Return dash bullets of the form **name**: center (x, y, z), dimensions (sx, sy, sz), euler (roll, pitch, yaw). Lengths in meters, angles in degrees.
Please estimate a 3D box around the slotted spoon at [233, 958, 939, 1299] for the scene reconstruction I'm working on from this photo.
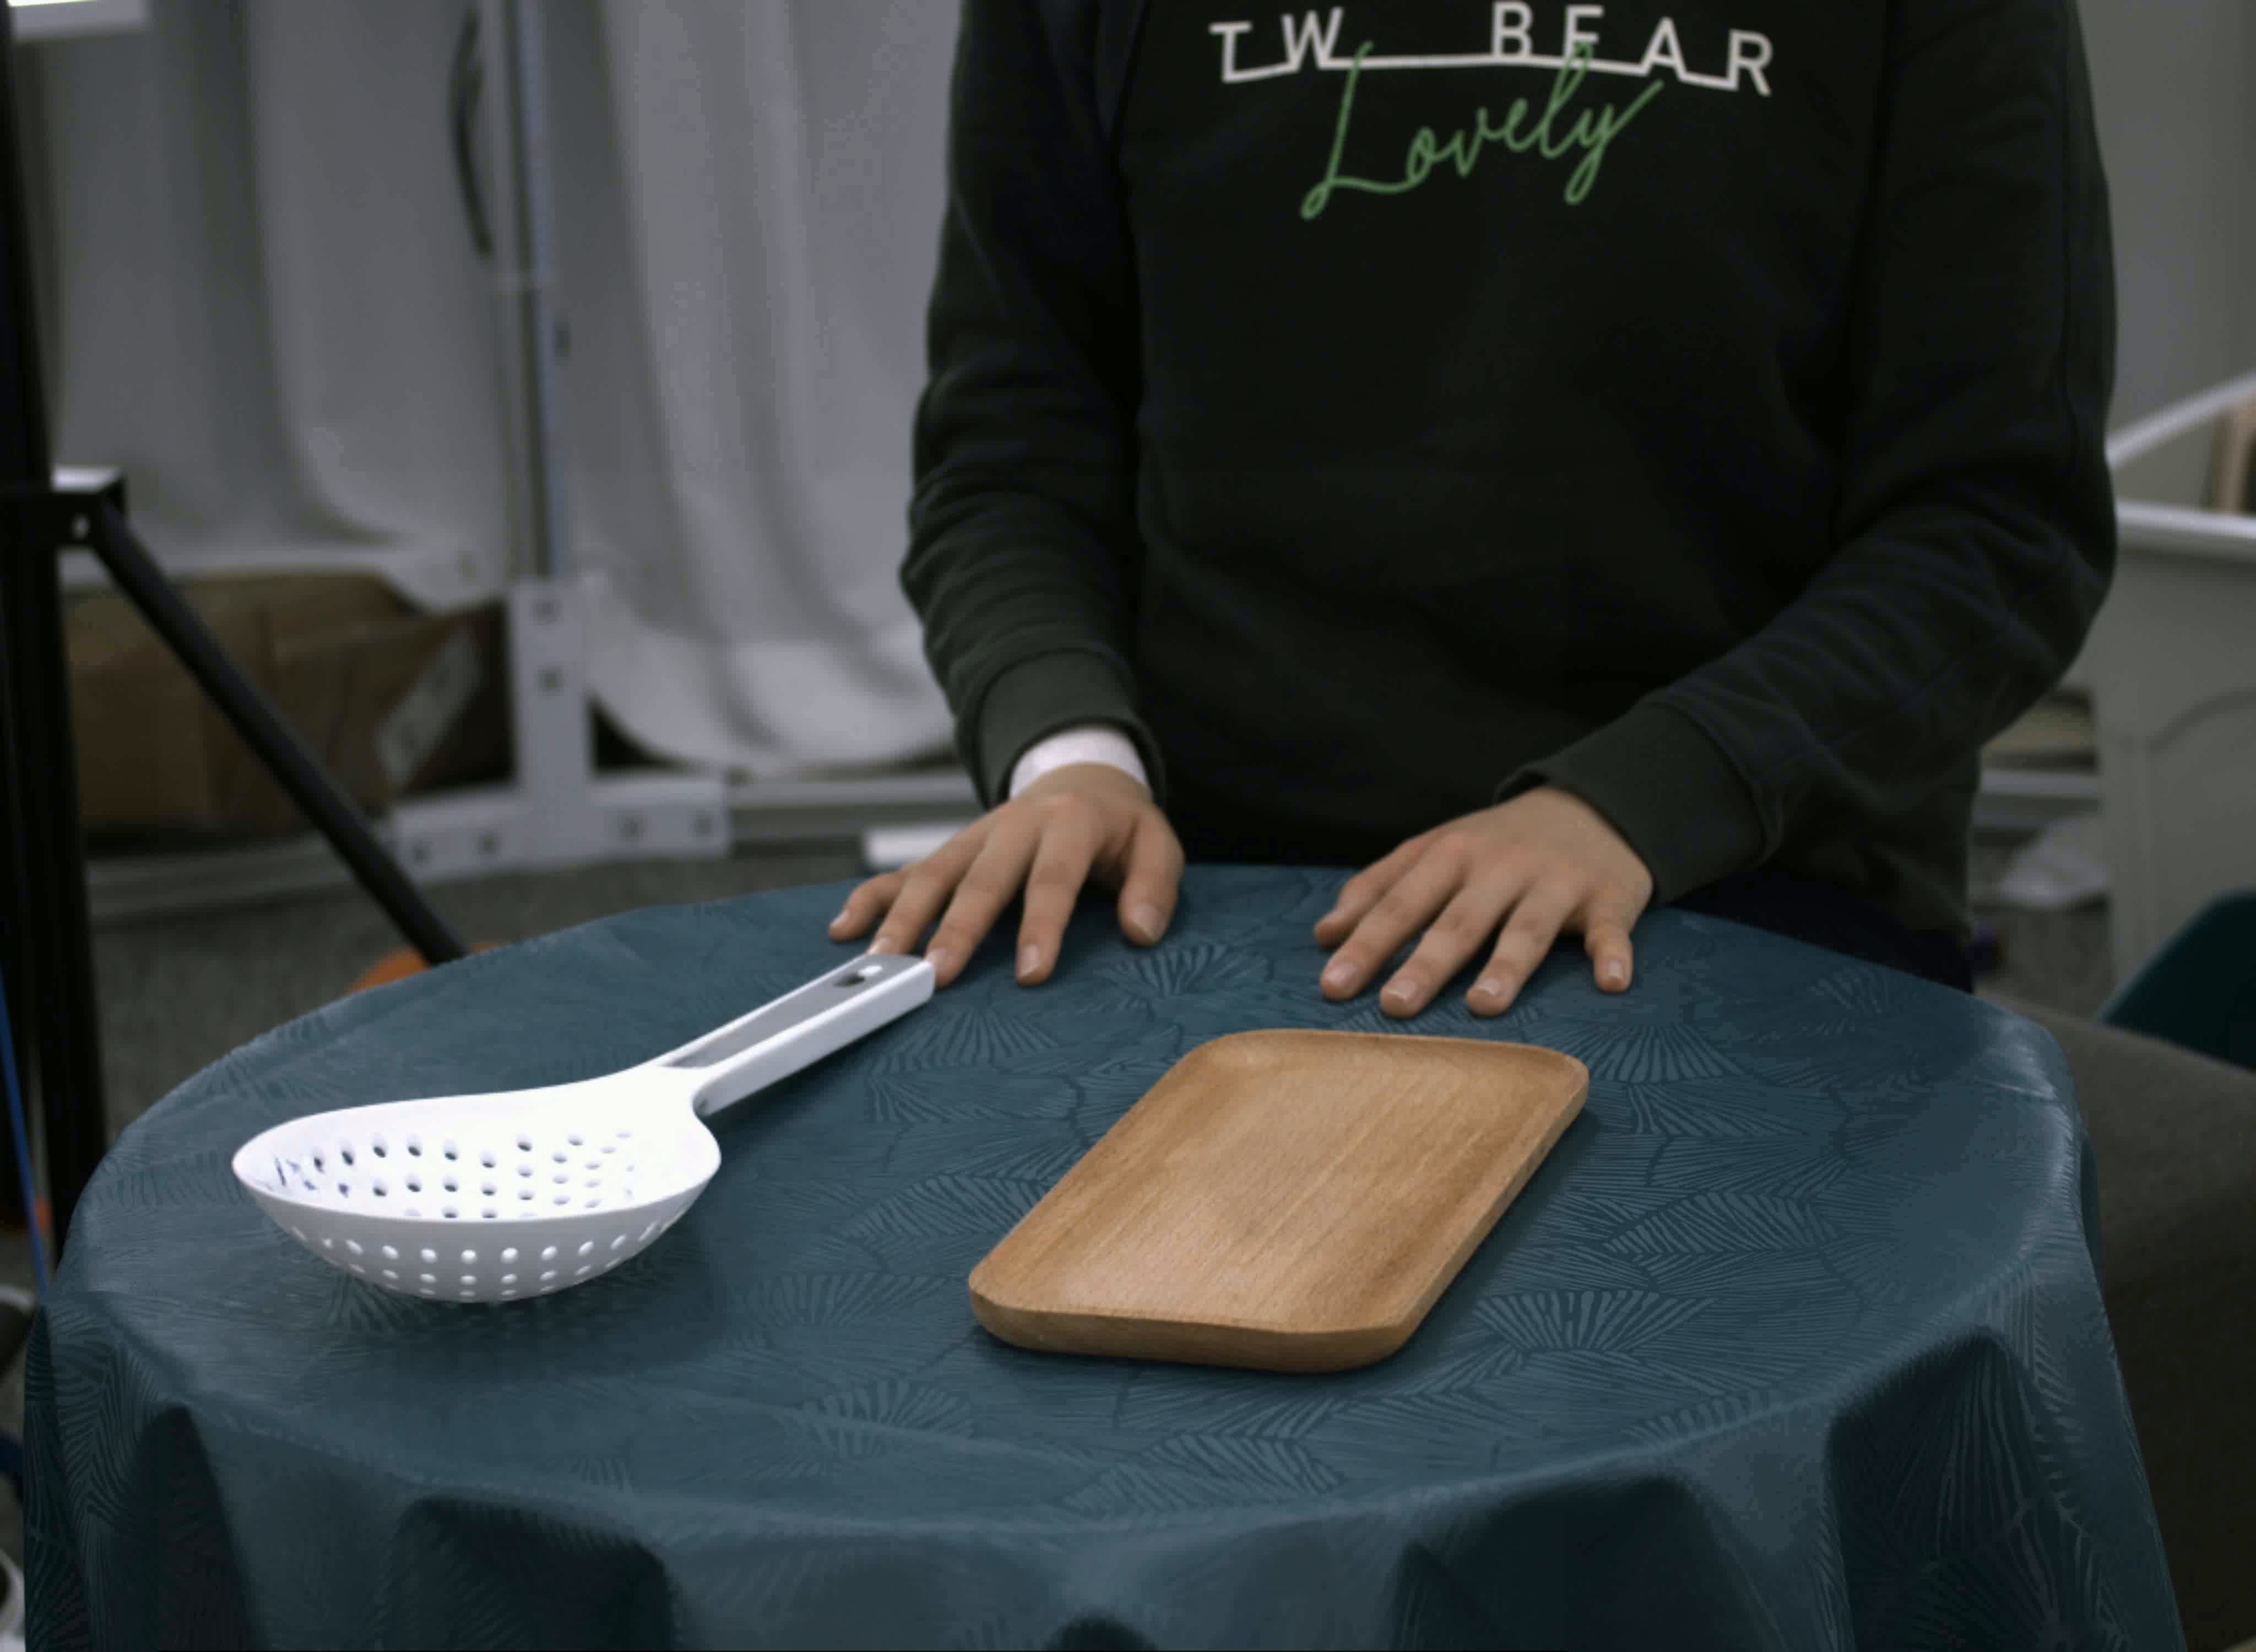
- **slotted spoon**: center (-0.141, 0.081, 1.594), dimensions (0.138, 0.046, 0.345), euler (7, 17, 23)

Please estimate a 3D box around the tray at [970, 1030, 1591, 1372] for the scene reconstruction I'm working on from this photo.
- **tray**: center (0.049, 0.105, 1.529), dimensions (0.132, 0.023, 0.248), euler (5, 16, 19)
